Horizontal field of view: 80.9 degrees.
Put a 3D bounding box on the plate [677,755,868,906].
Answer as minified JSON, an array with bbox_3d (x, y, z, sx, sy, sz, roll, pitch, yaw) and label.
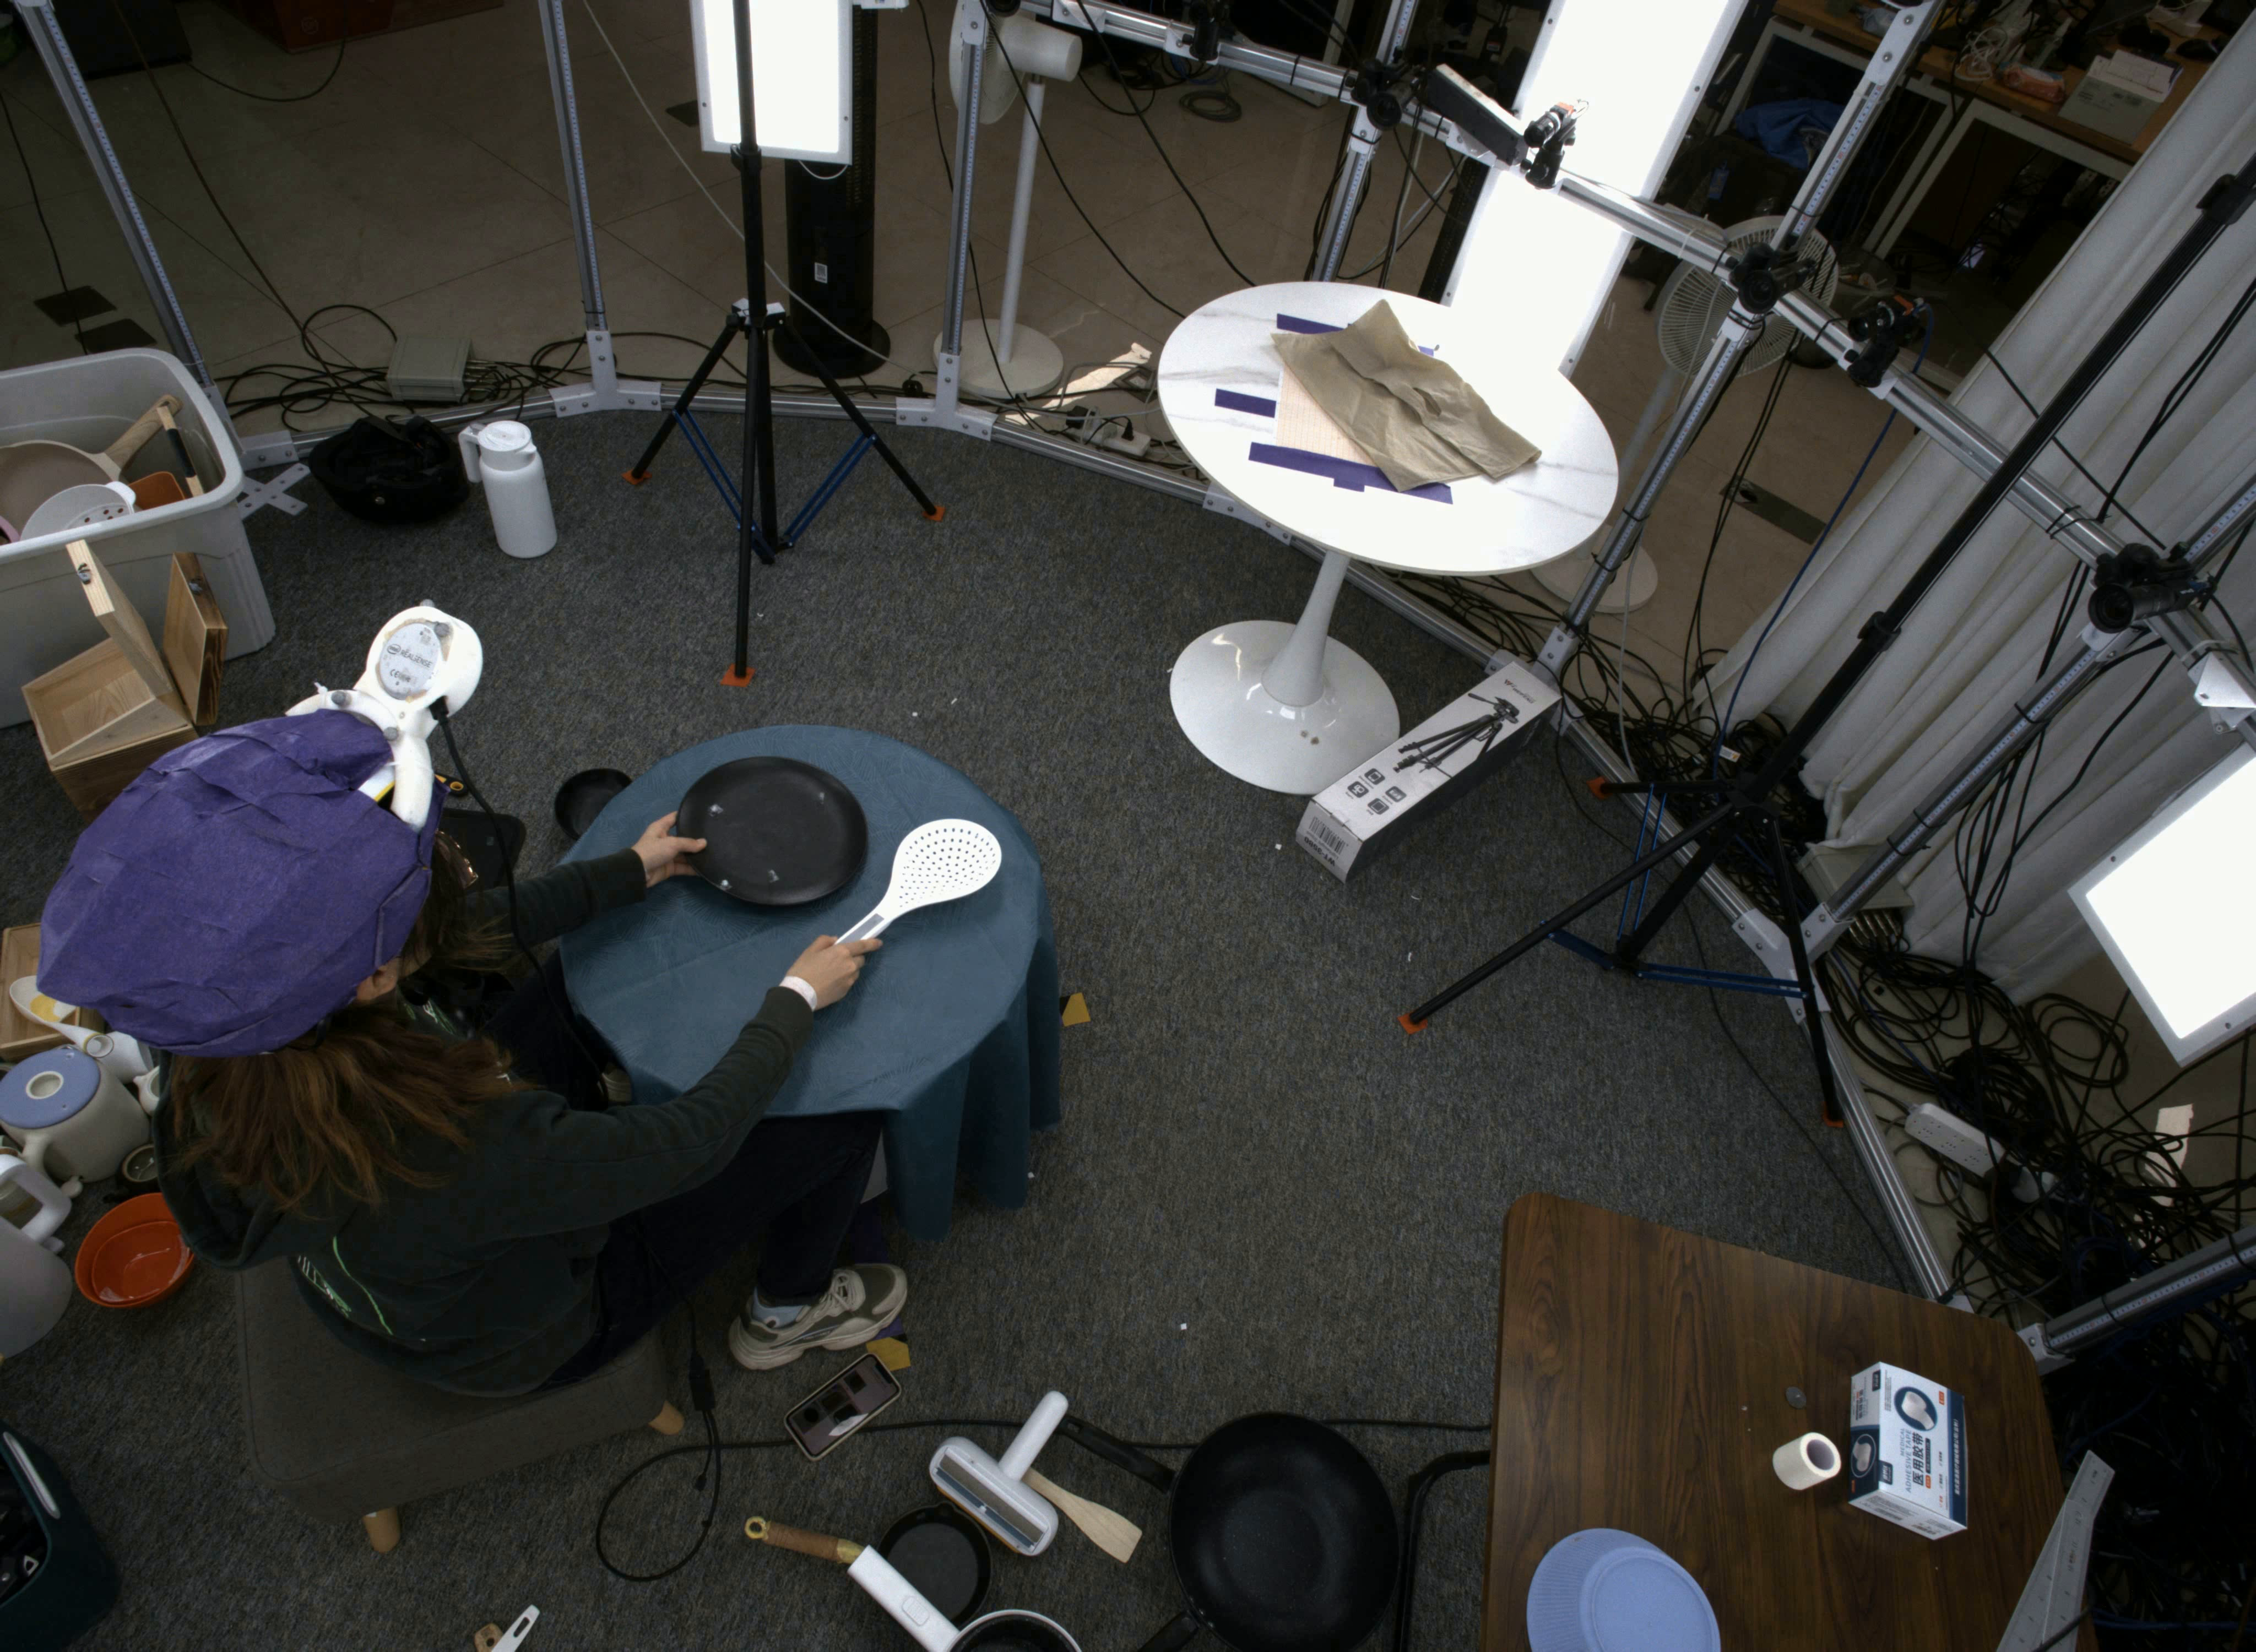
[{"bbox_3d":[-0.462,0.007,1.685,0.245,0.024,0.240,13,50,-14],"label":"plate"}]

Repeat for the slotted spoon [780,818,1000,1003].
[{"bbox_3d":[-0.301,0.104,1.642,0.132,0.047,0.350,30,47,24],"label":"slotted spoon"}]
